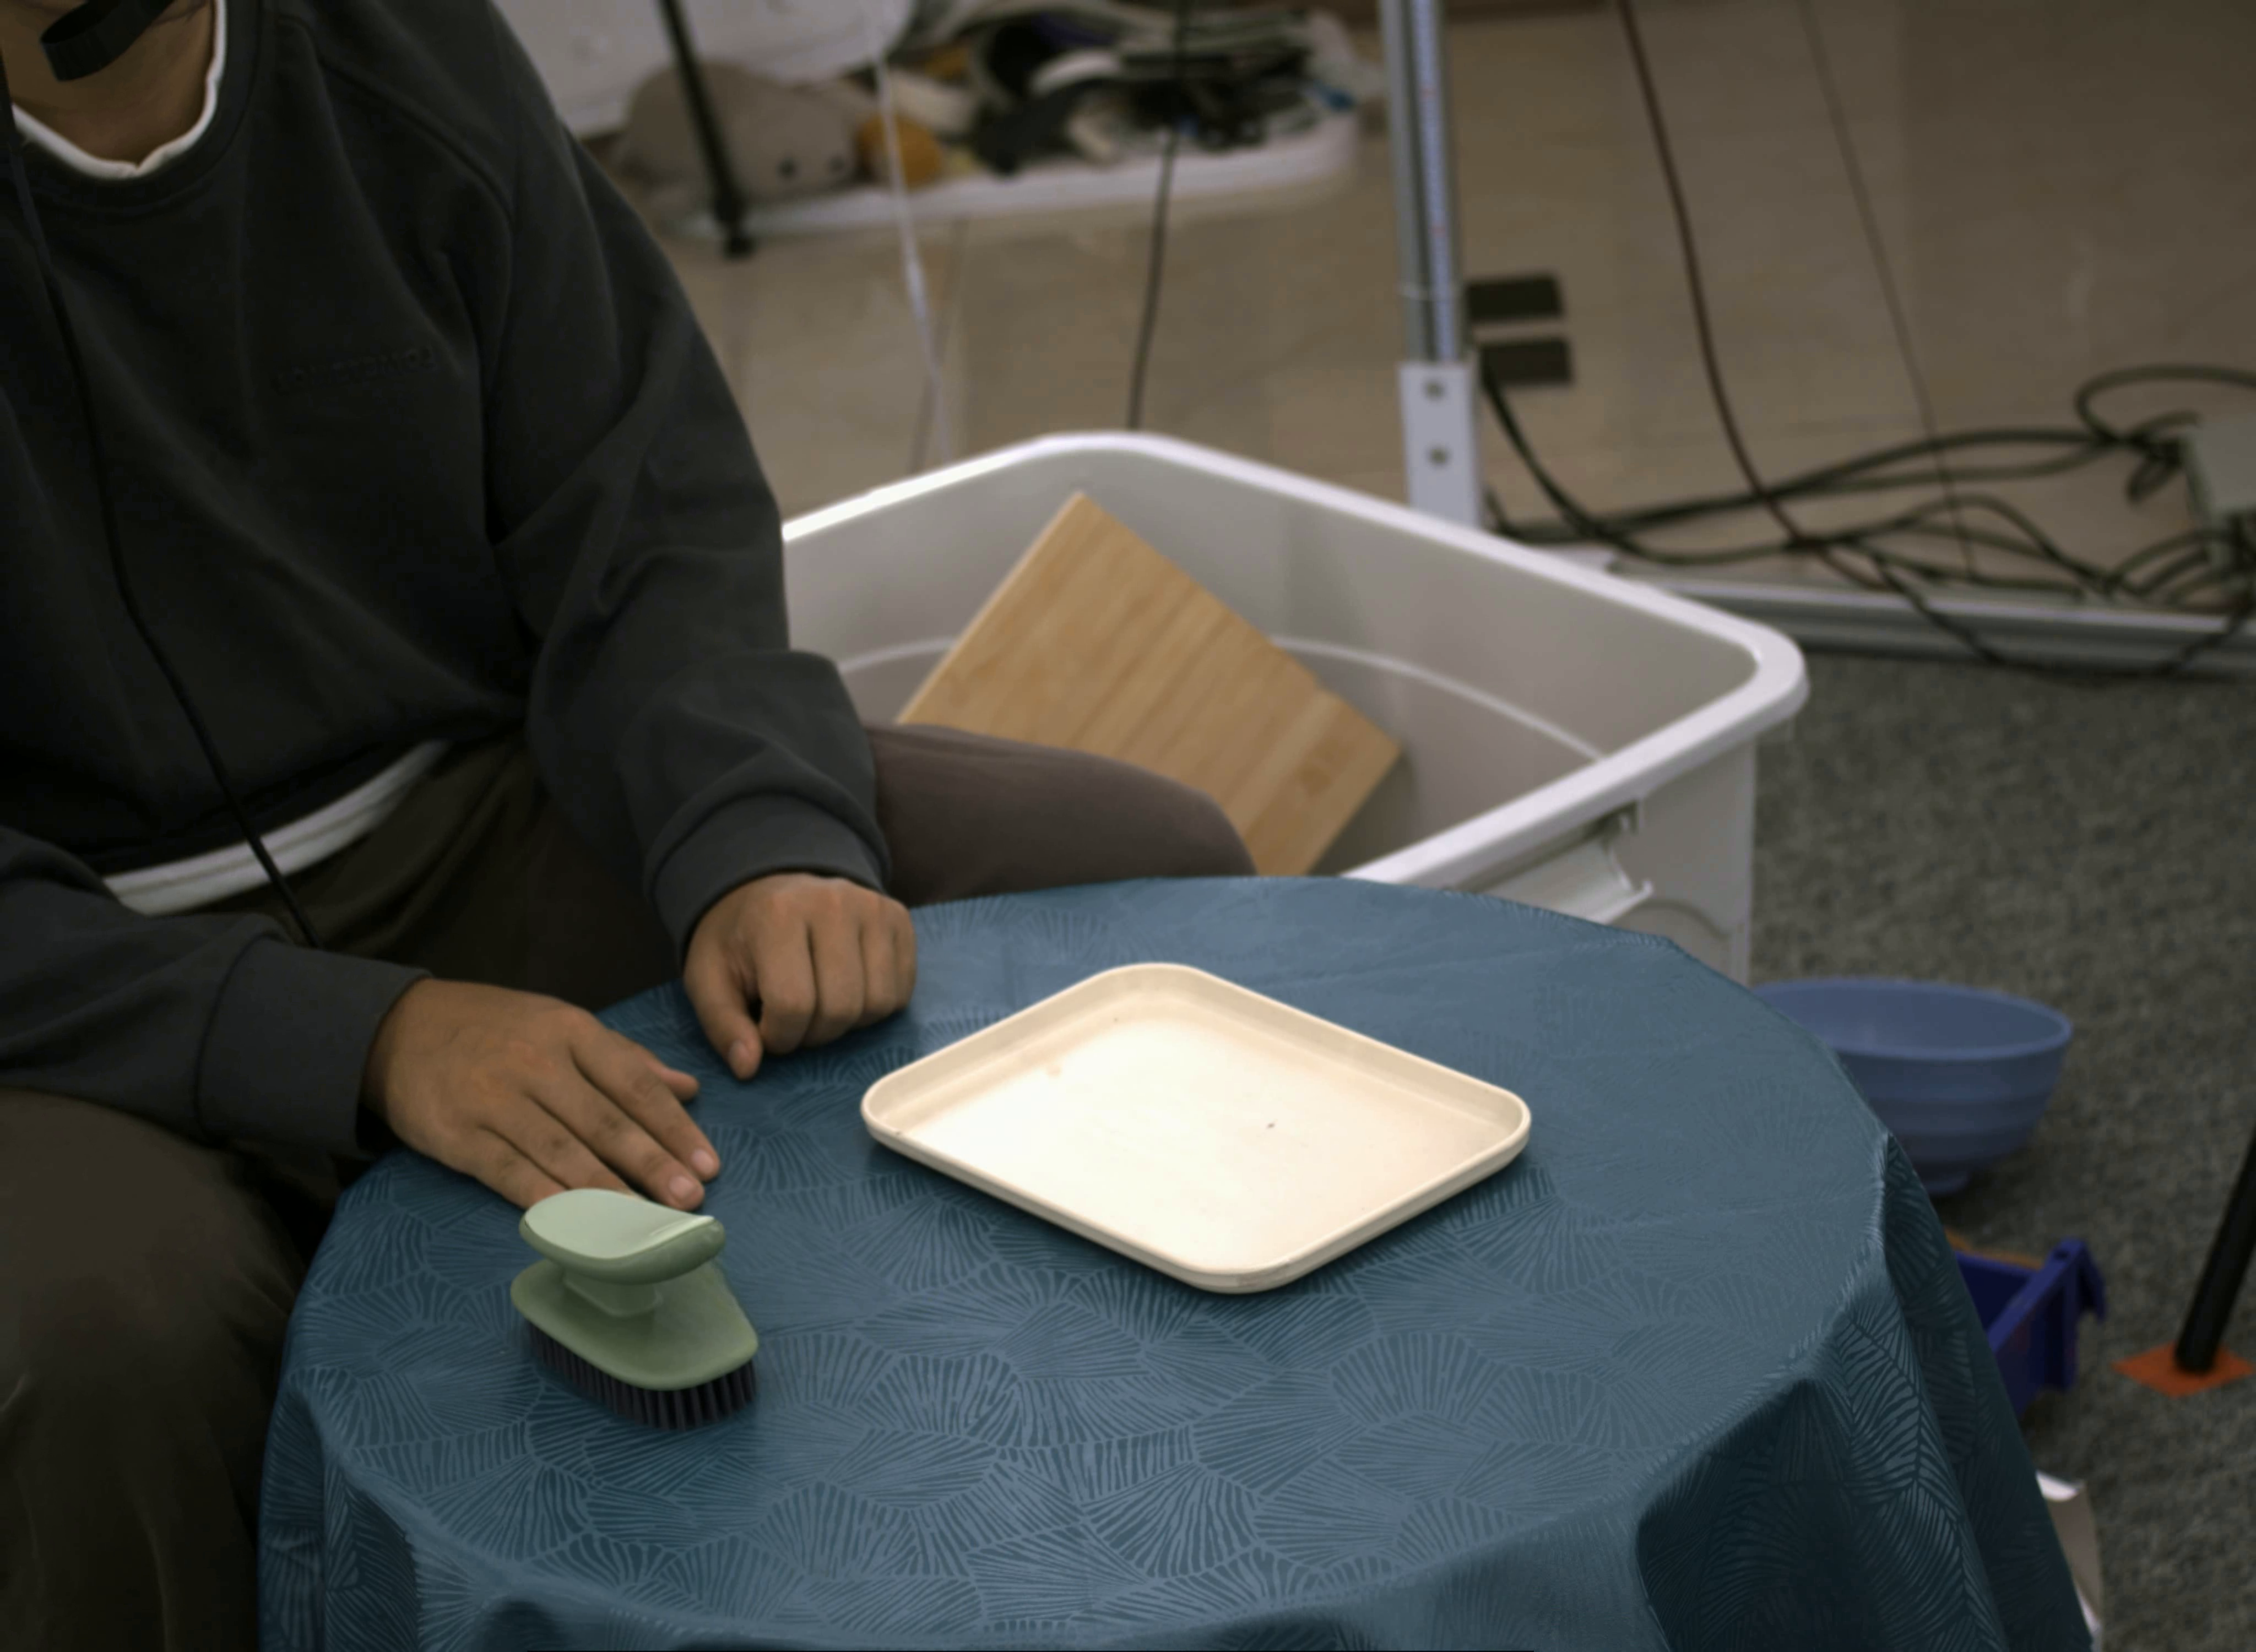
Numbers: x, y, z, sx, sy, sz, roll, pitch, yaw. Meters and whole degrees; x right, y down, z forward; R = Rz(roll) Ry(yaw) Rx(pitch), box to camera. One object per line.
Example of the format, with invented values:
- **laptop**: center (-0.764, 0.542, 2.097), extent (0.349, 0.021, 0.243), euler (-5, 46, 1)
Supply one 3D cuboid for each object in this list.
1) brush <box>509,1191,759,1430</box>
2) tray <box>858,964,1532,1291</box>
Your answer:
- **brush**: center (-0.179, 0.173, 2.054), extent (0.059, 0.076, 0.122), euler (-22, 15, -31)
- **tray**: center (0.024, 0.115, 2.173), extent (0.170, 0.018, 0.237), euler (-24, 30, -35)
